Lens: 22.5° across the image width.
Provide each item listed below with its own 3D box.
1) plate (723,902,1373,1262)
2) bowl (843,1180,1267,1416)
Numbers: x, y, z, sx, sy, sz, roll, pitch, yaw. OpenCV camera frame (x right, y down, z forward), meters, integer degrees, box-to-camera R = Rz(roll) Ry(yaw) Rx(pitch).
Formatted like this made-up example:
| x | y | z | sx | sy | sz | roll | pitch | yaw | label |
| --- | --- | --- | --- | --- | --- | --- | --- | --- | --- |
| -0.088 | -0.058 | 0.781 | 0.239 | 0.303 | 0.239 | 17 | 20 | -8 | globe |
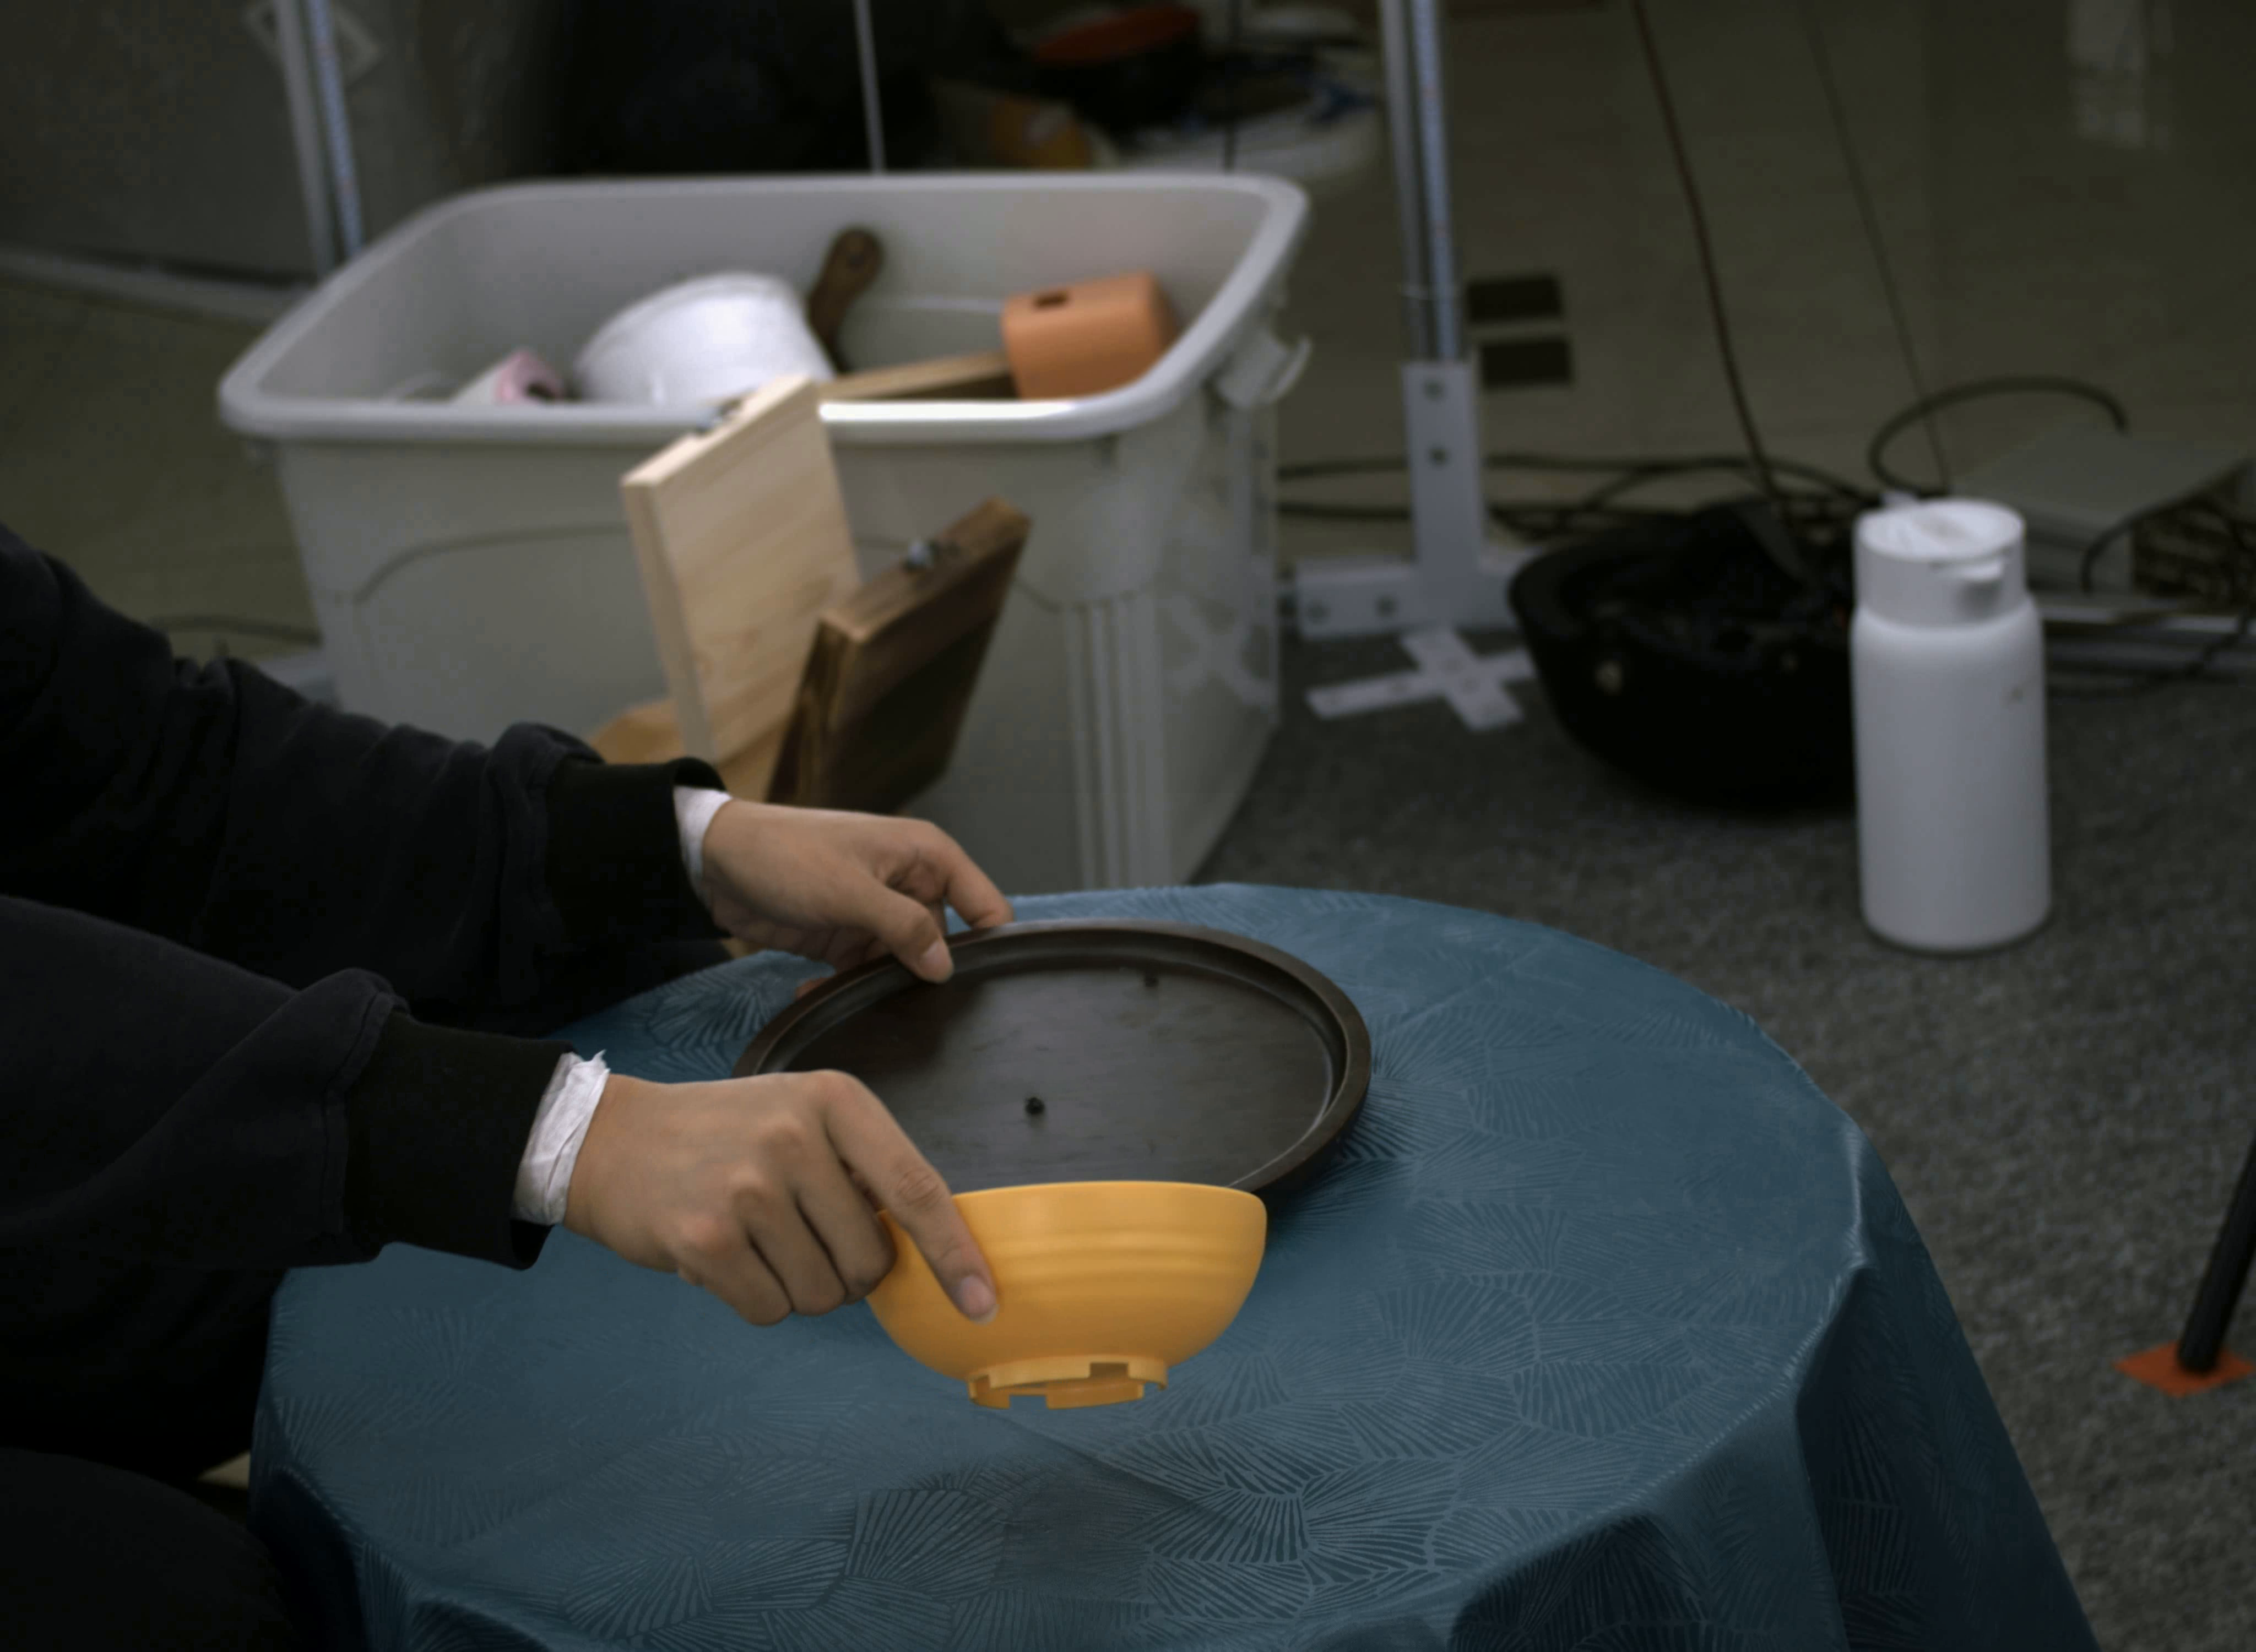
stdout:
| x | y | z | sx | sy | sz | roll | pitch | yaw | label |
| --- | --- | --- | --- | --- | --- | --- | --- | --- | --- |
| -0.030 | 0.105 | 2.194 | 0.254 | 0.029 | 0.250 | -5 | 29 | 3 | plate |
| -0.022 | 0.163 | 1.905 | 0.145 | 0.059 | 0.146 | -5 | -14 | -1 | bowl |
